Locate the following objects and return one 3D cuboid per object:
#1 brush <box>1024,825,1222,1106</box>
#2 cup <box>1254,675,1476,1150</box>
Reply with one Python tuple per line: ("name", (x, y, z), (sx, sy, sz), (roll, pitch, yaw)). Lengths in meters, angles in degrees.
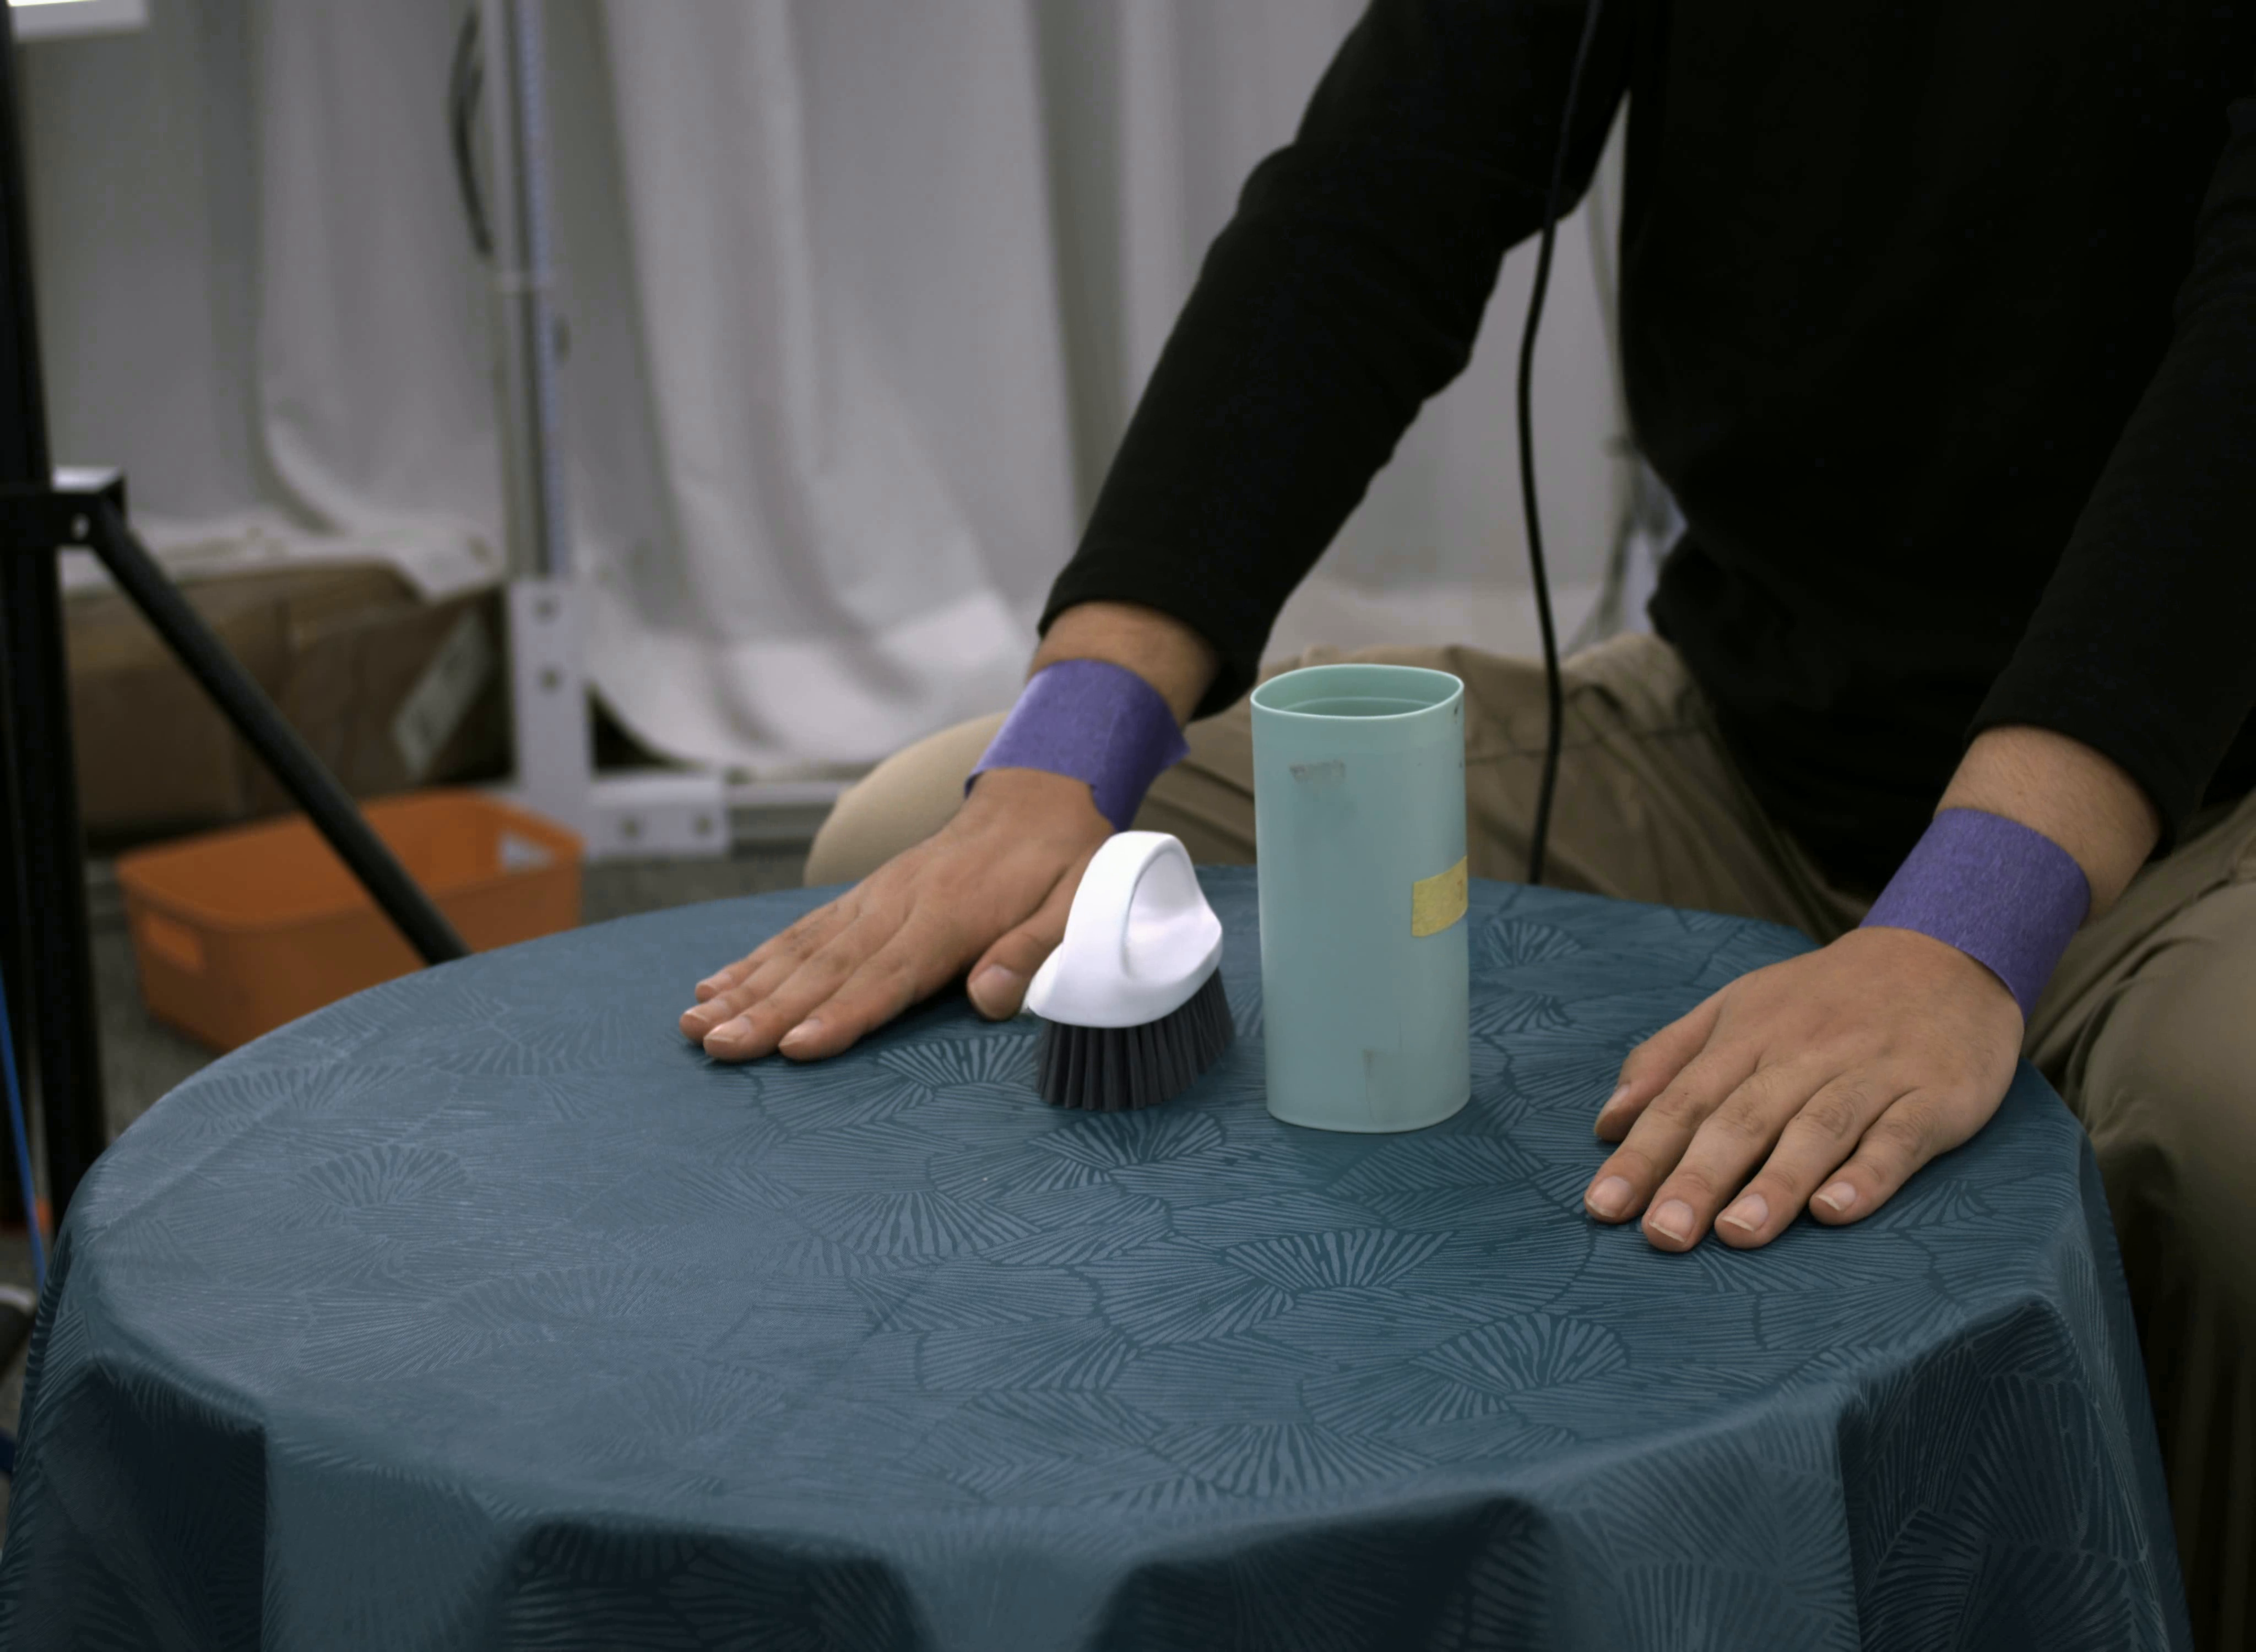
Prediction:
("brush", (-0.001, 0.039, 1.668), (0.051, 0.072, 0.098), (5, 18, 17))
("cup", (0.072, 0.026, 1.613), (0.066, 0.132, 0.067), (-3, 15, -1))
